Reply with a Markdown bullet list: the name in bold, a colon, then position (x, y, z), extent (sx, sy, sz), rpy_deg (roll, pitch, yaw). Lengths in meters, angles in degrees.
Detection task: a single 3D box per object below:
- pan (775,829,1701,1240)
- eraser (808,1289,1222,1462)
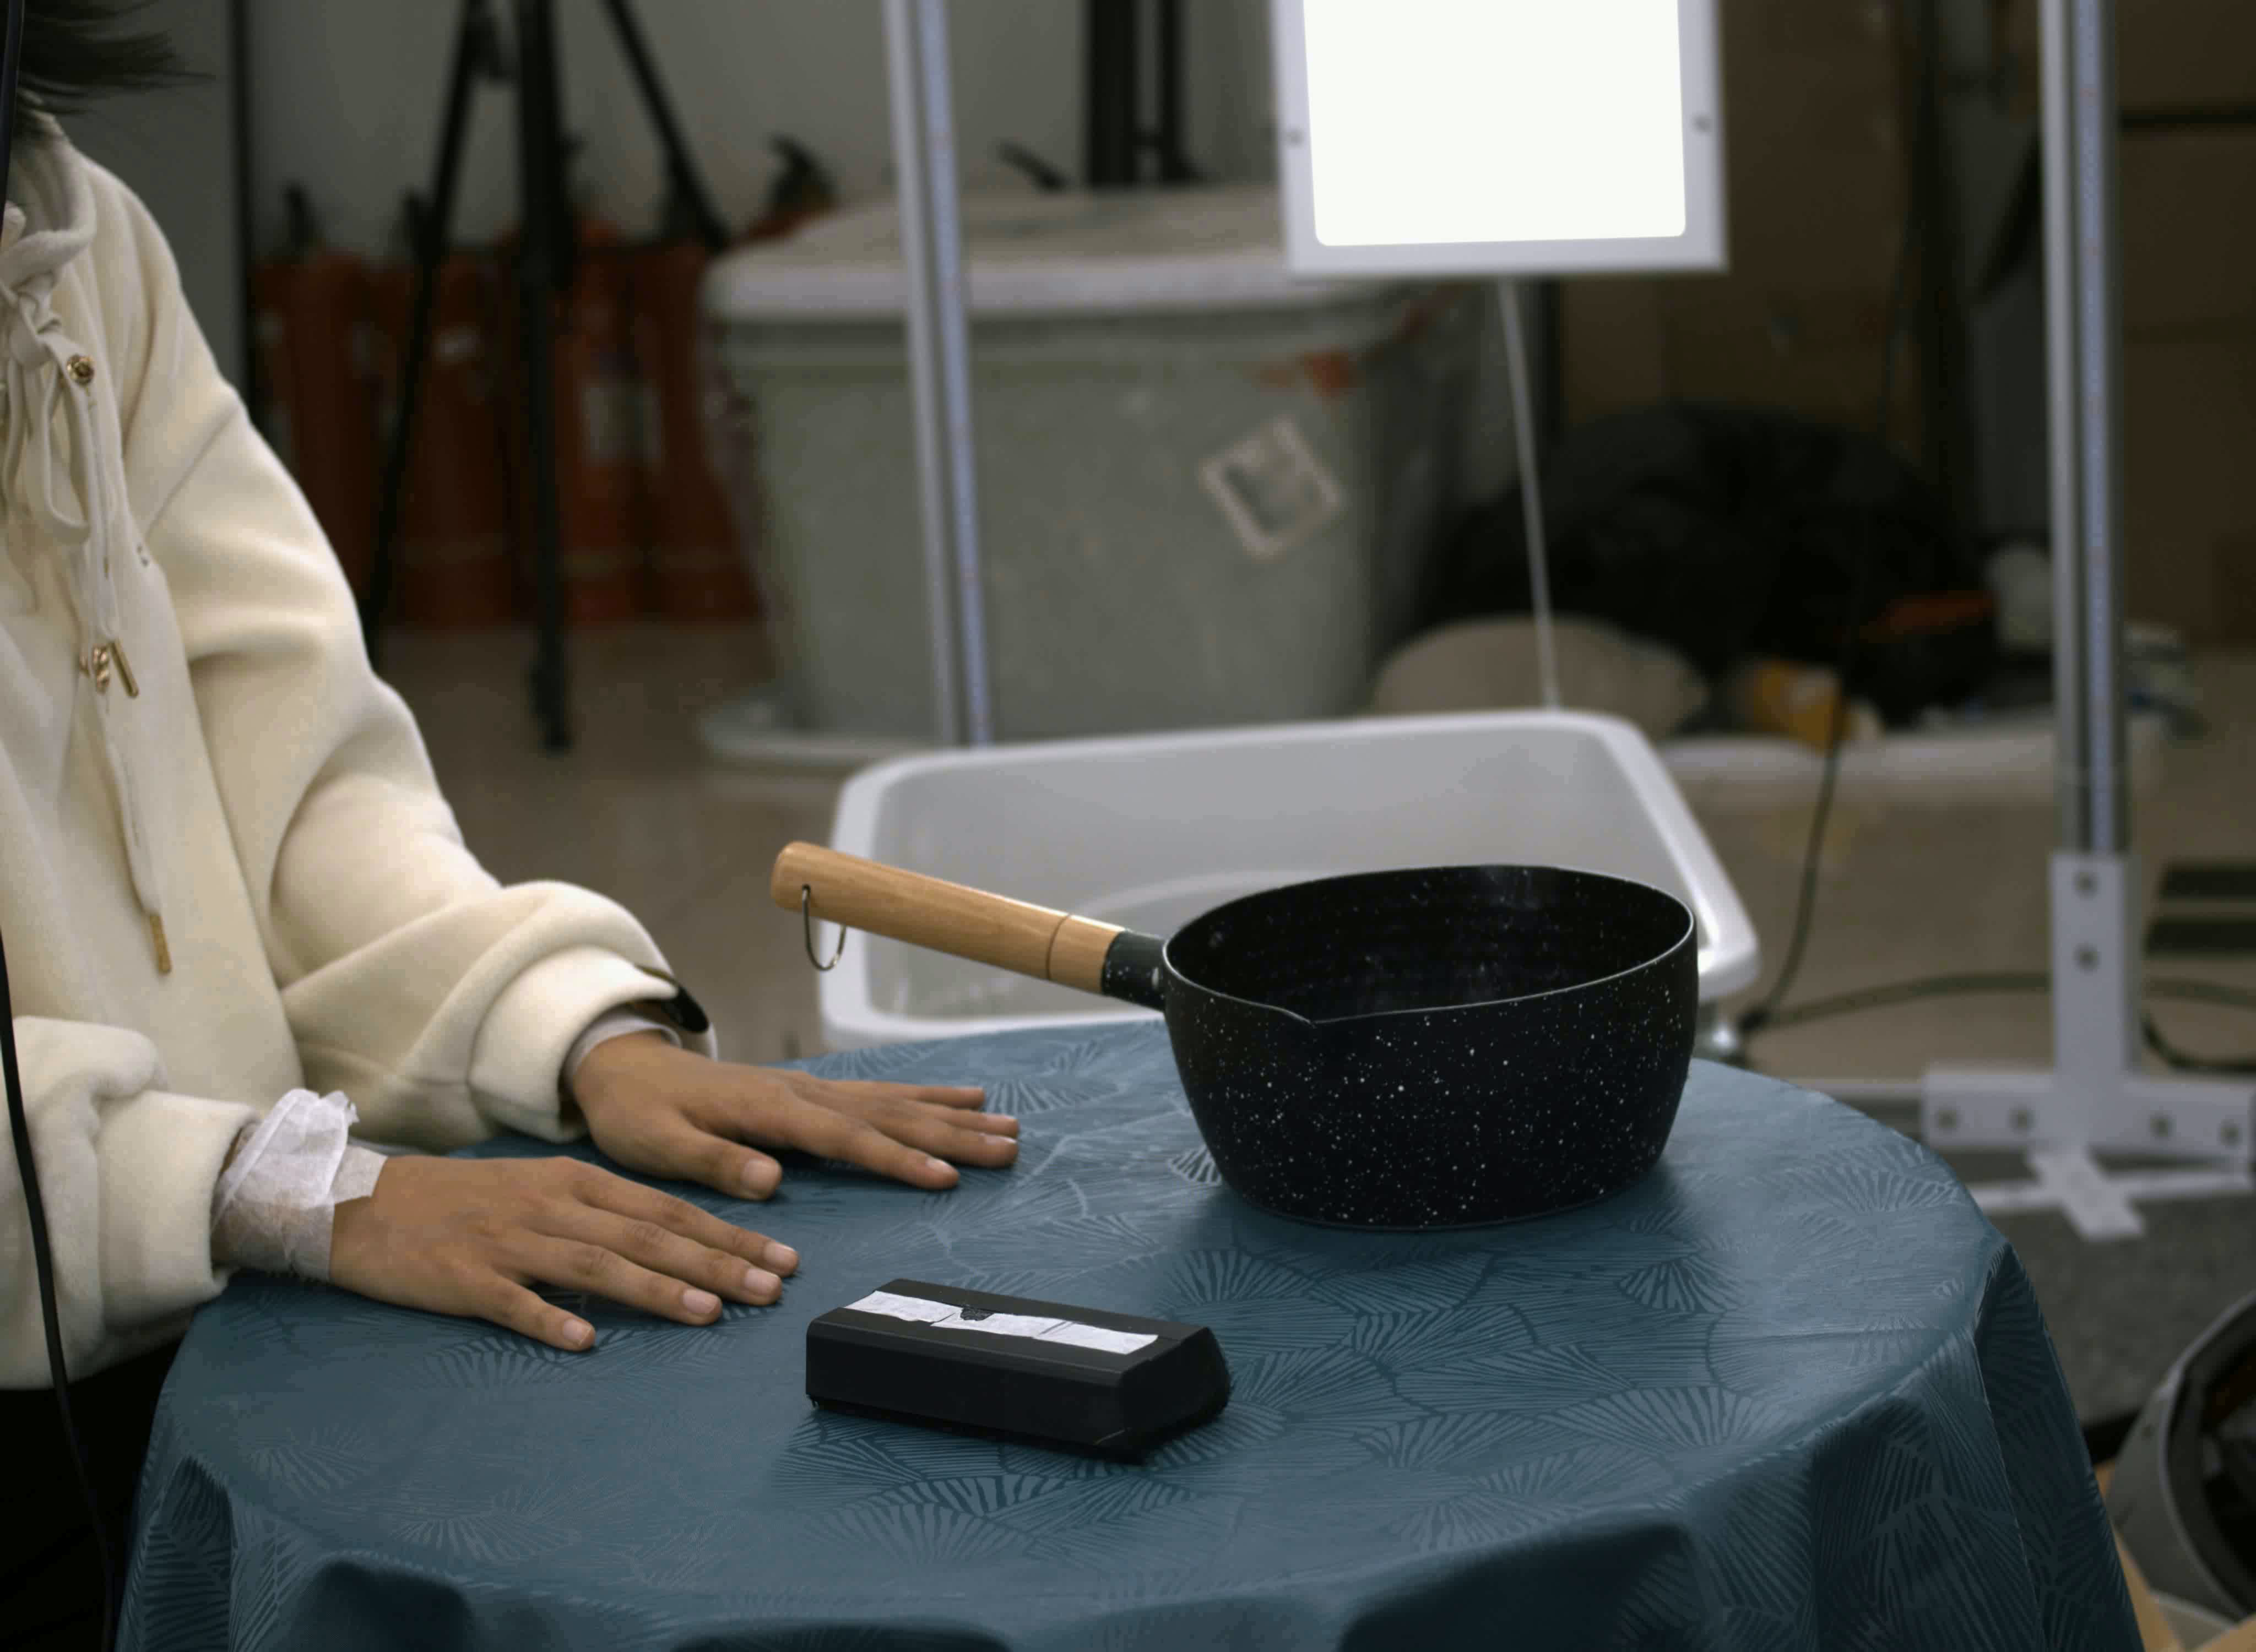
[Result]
- **pan**: position (0.032, 0.063, 1.916), extent (0.348, 0.108, 0.203), rpy_deg (3, 17, 24)
- **eraser**: position (-0.034, 0.167, 1.689), extent (0.128, 0.030, 0.052), rpy_deg (4, 16, 39)
